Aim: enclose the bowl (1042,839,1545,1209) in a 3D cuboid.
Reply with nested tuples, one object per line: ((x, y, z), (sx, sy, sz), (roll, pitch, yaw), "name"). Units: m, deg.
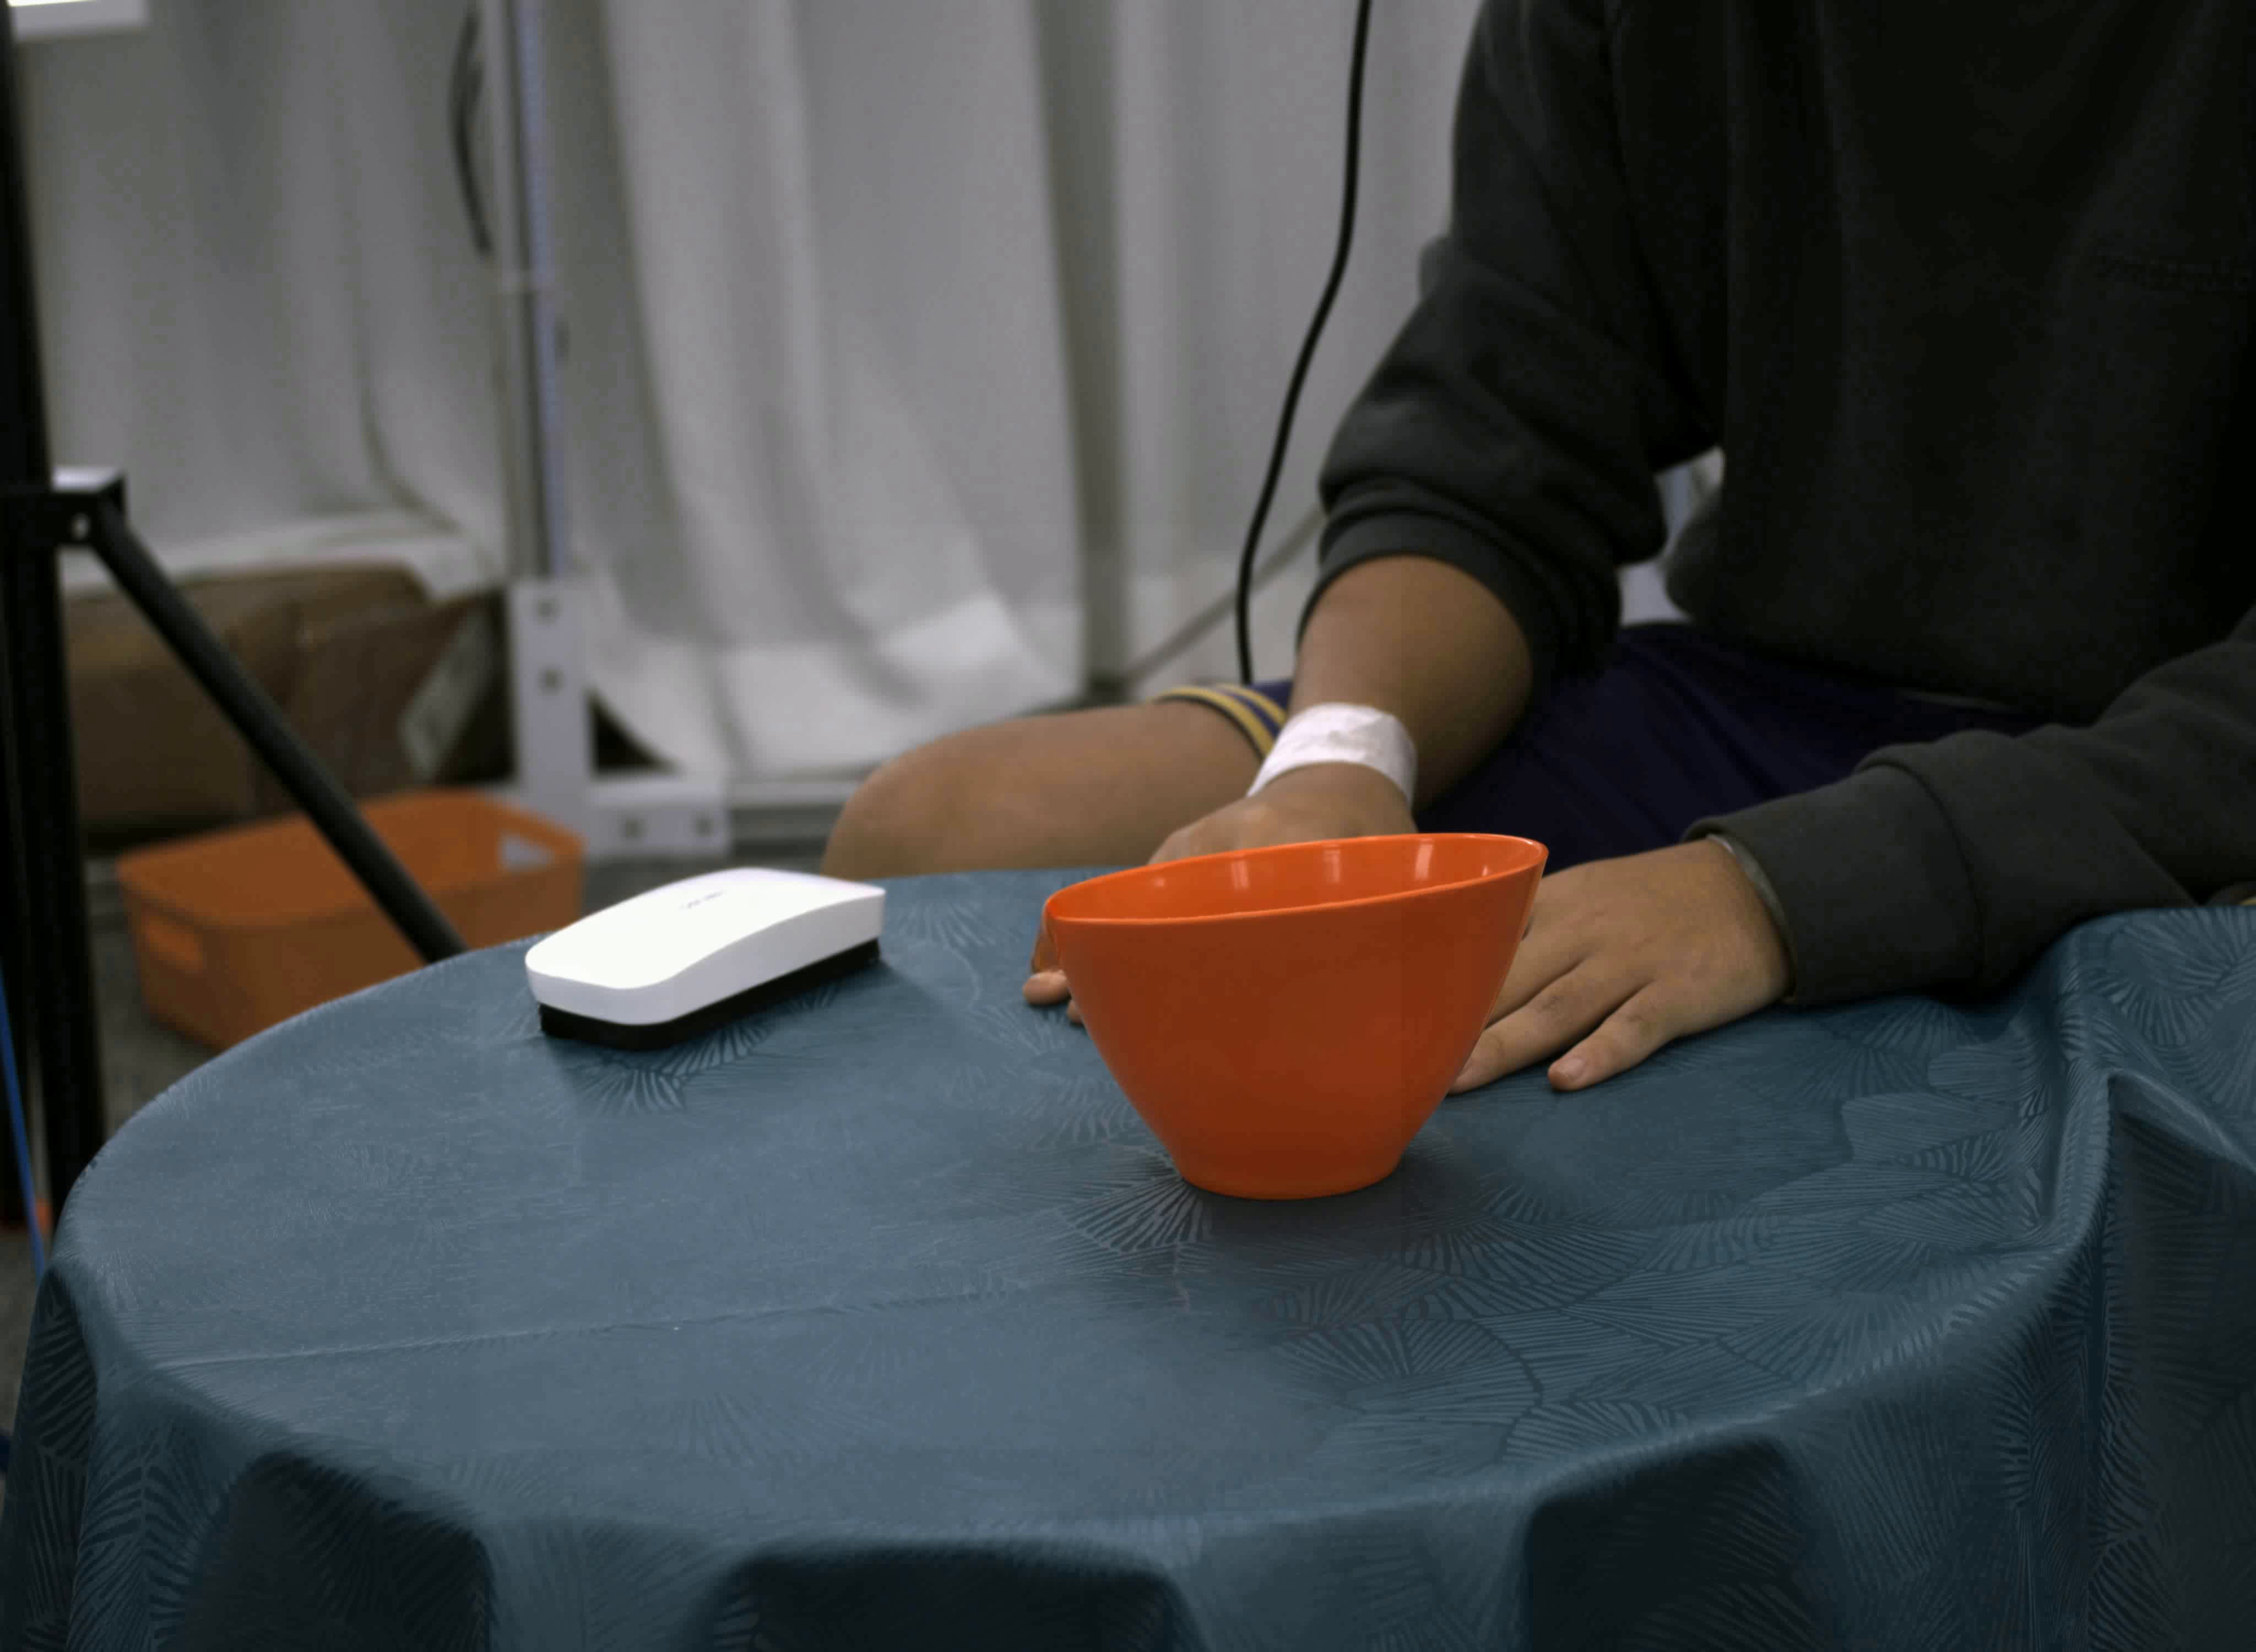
((0.049, 0.056, 1.555), (0.147, 0.104, 0.149), (-3, 15, -1), "bowl")

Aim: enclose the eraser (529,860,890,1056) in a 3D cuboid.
((-0.136, 0.040, 1.764), (0.065, 0.034, 0.128), (11, 22, 38), "eraser")
